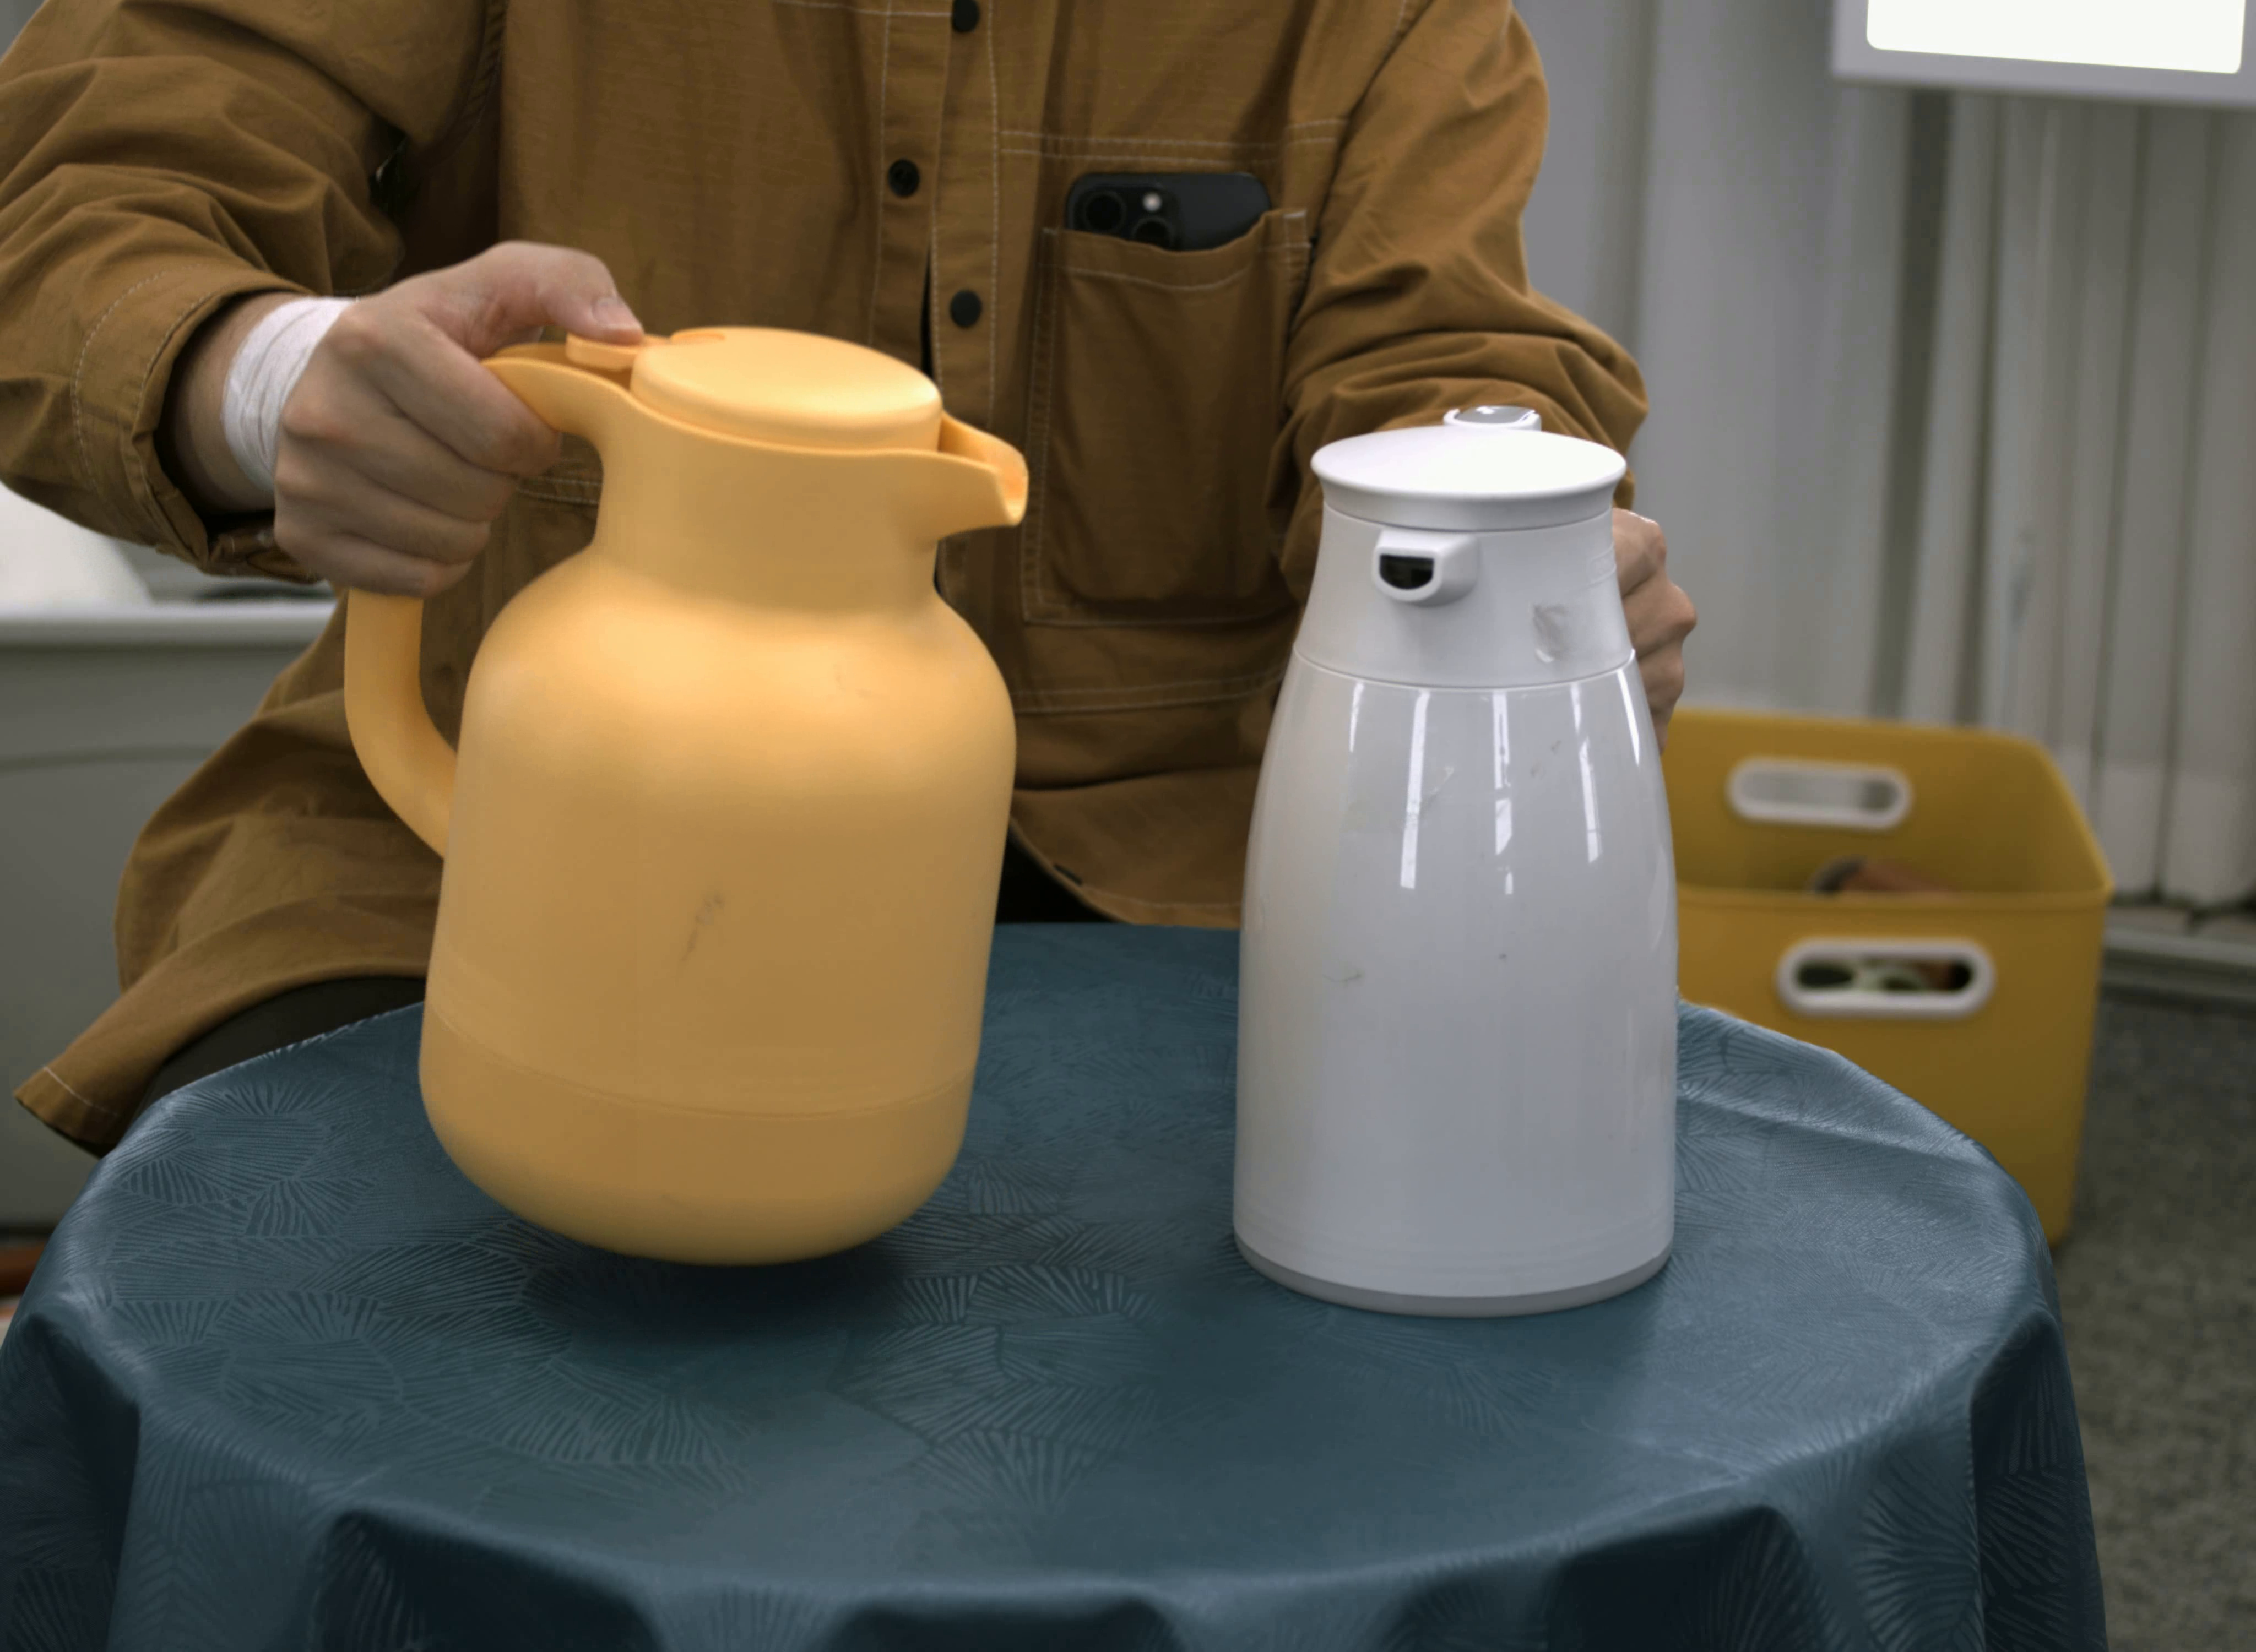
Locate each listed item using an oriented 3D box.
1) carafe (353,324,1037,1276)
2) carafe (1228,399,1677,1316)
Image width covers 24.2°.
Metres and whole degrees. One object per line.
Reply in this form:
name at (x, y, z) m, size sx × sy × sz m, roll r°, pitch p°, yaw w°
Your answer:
carafe at (-0.129, -0.016, 1.522) m, size 0.201 × 0.262 × 0.163 m, roll 14°, pitch 18°, yaw 15°
carafe at (0.102, 0.000, 1.564) m, size 0.131 × 0.250 × 0.168 m, roll 5°, pitch 16°, yaw 17°
